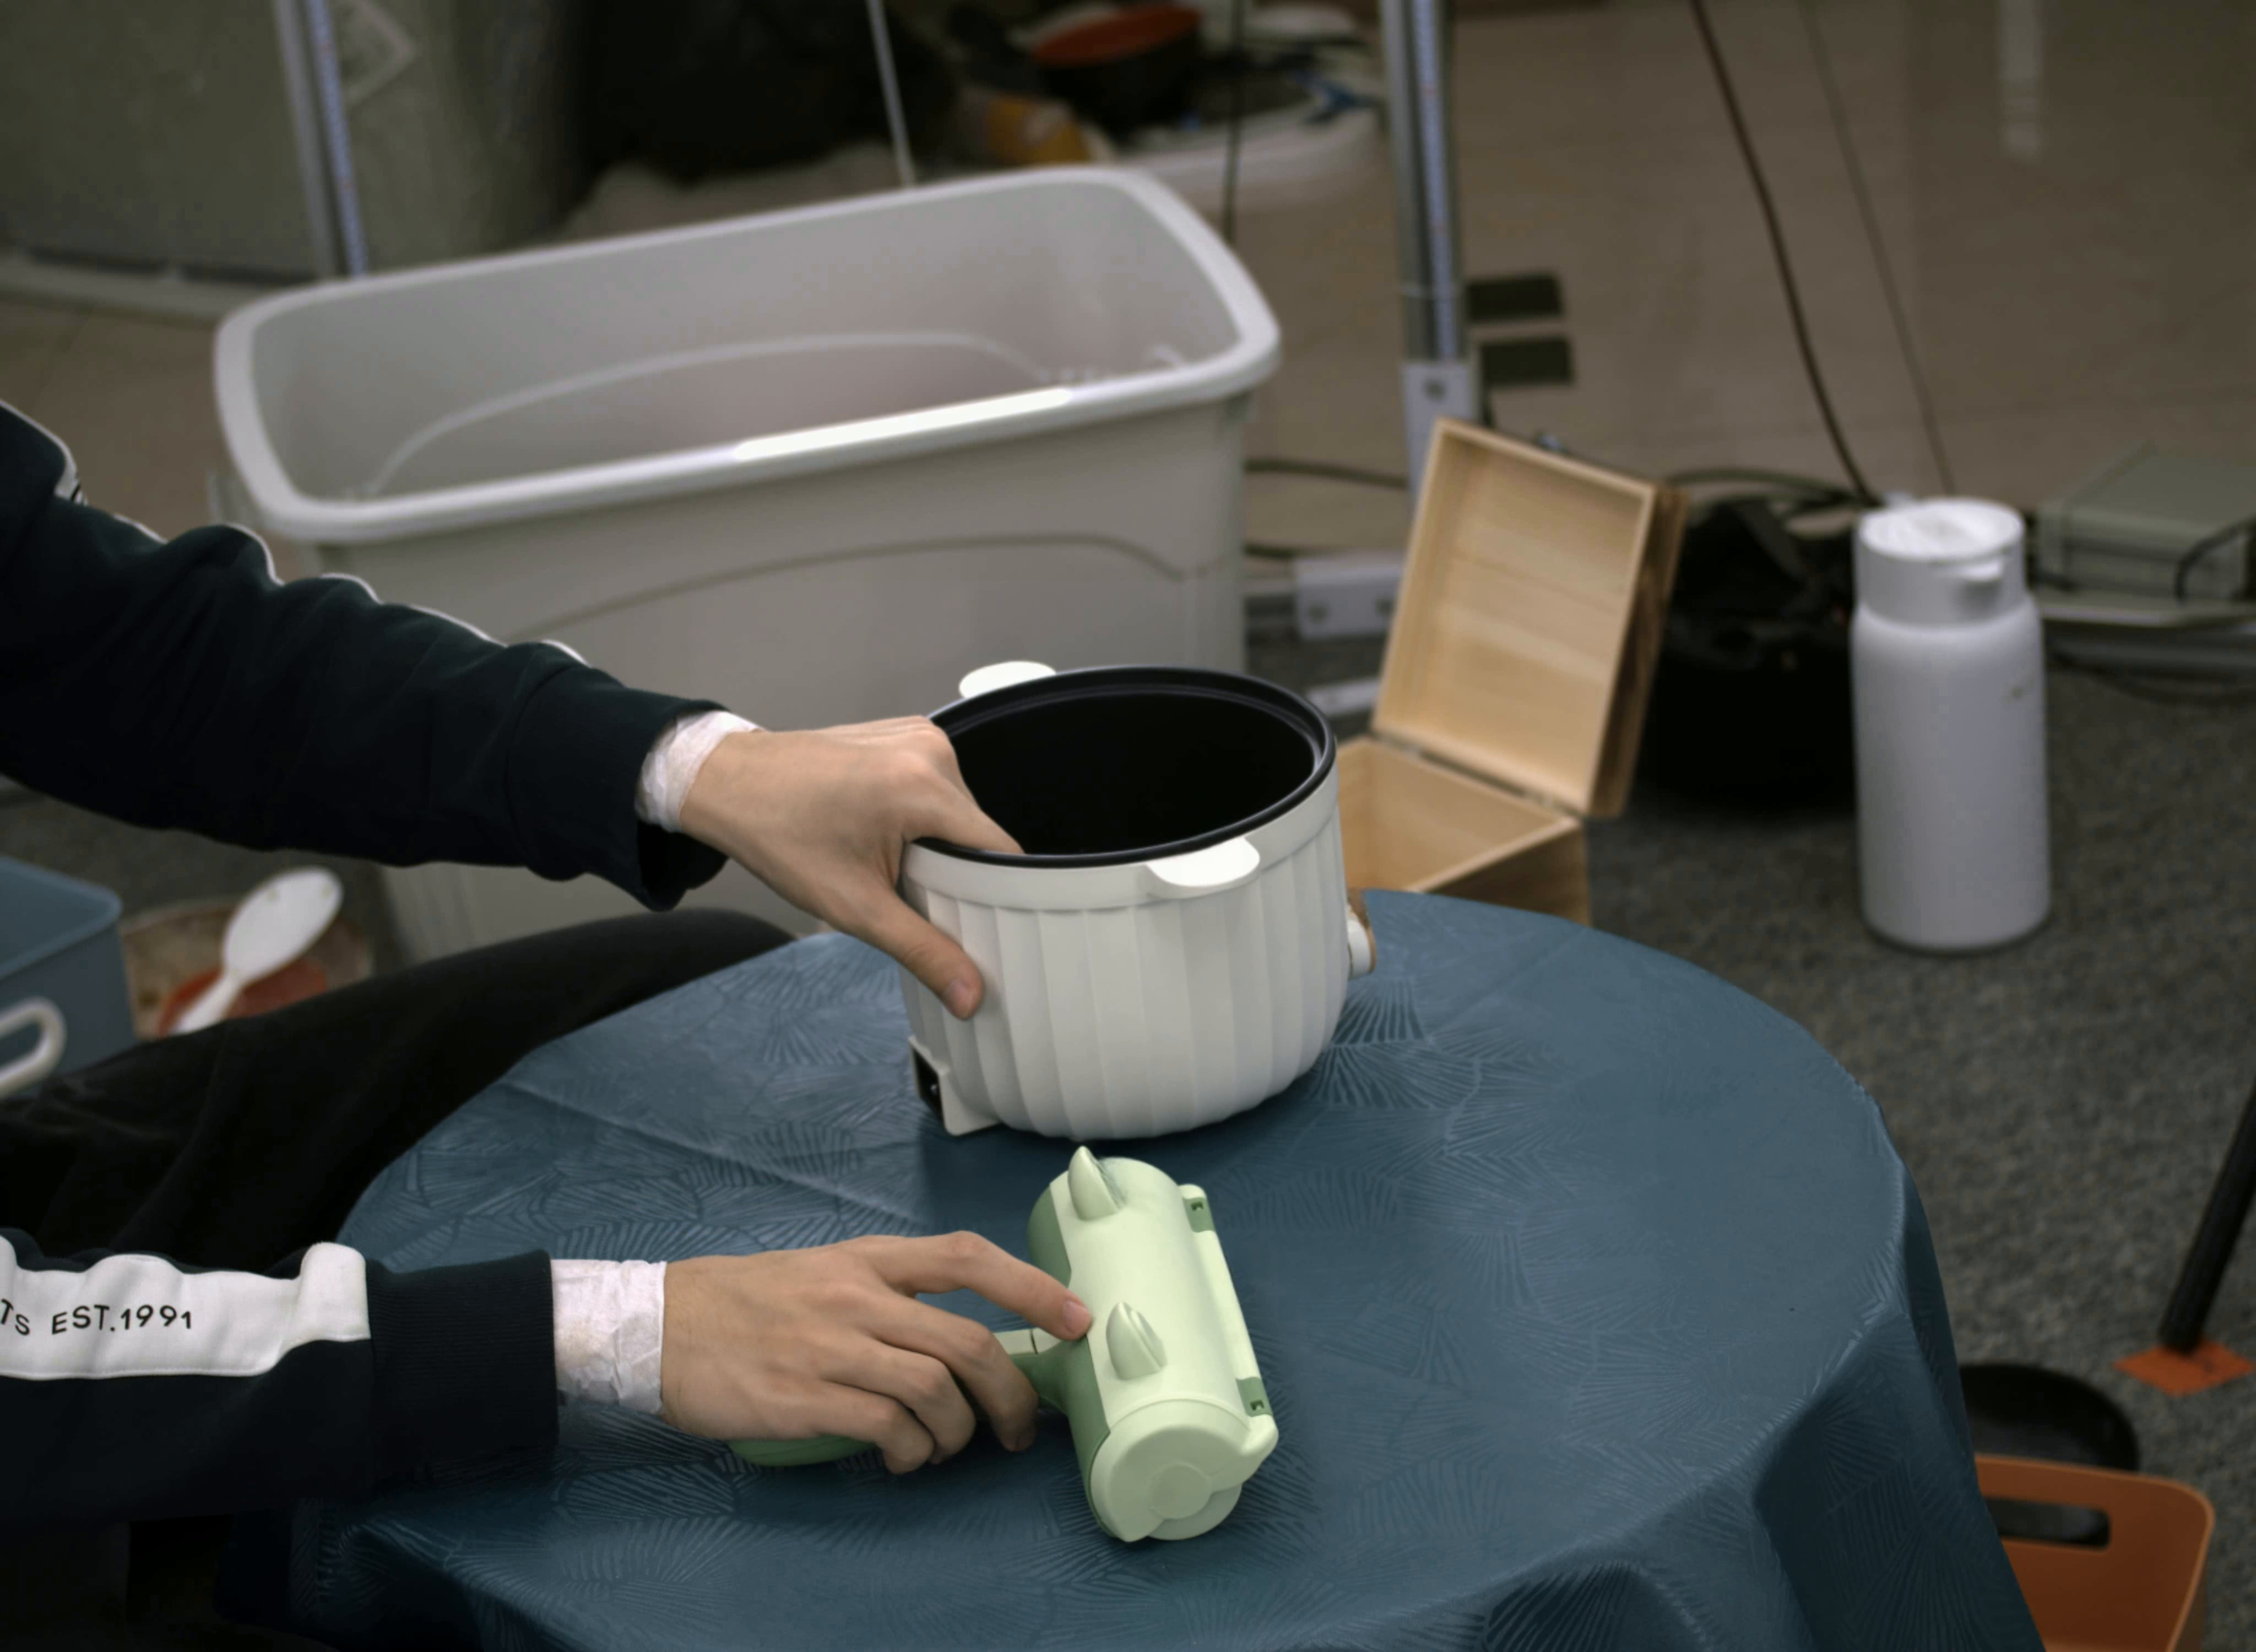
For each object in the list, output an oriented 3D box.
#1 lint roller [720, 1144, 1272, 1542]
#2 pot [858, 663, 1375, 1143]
[{"bbox_3d":[-0.052,0.178,1.983,0.183,0.083,0.195,-3,25,-6],"label":"lint roller"},{"bbox_3d":[0.000,0.033,2.207,0.190,0.145,0.237,-18,29,-17],"label":"pot"}]
